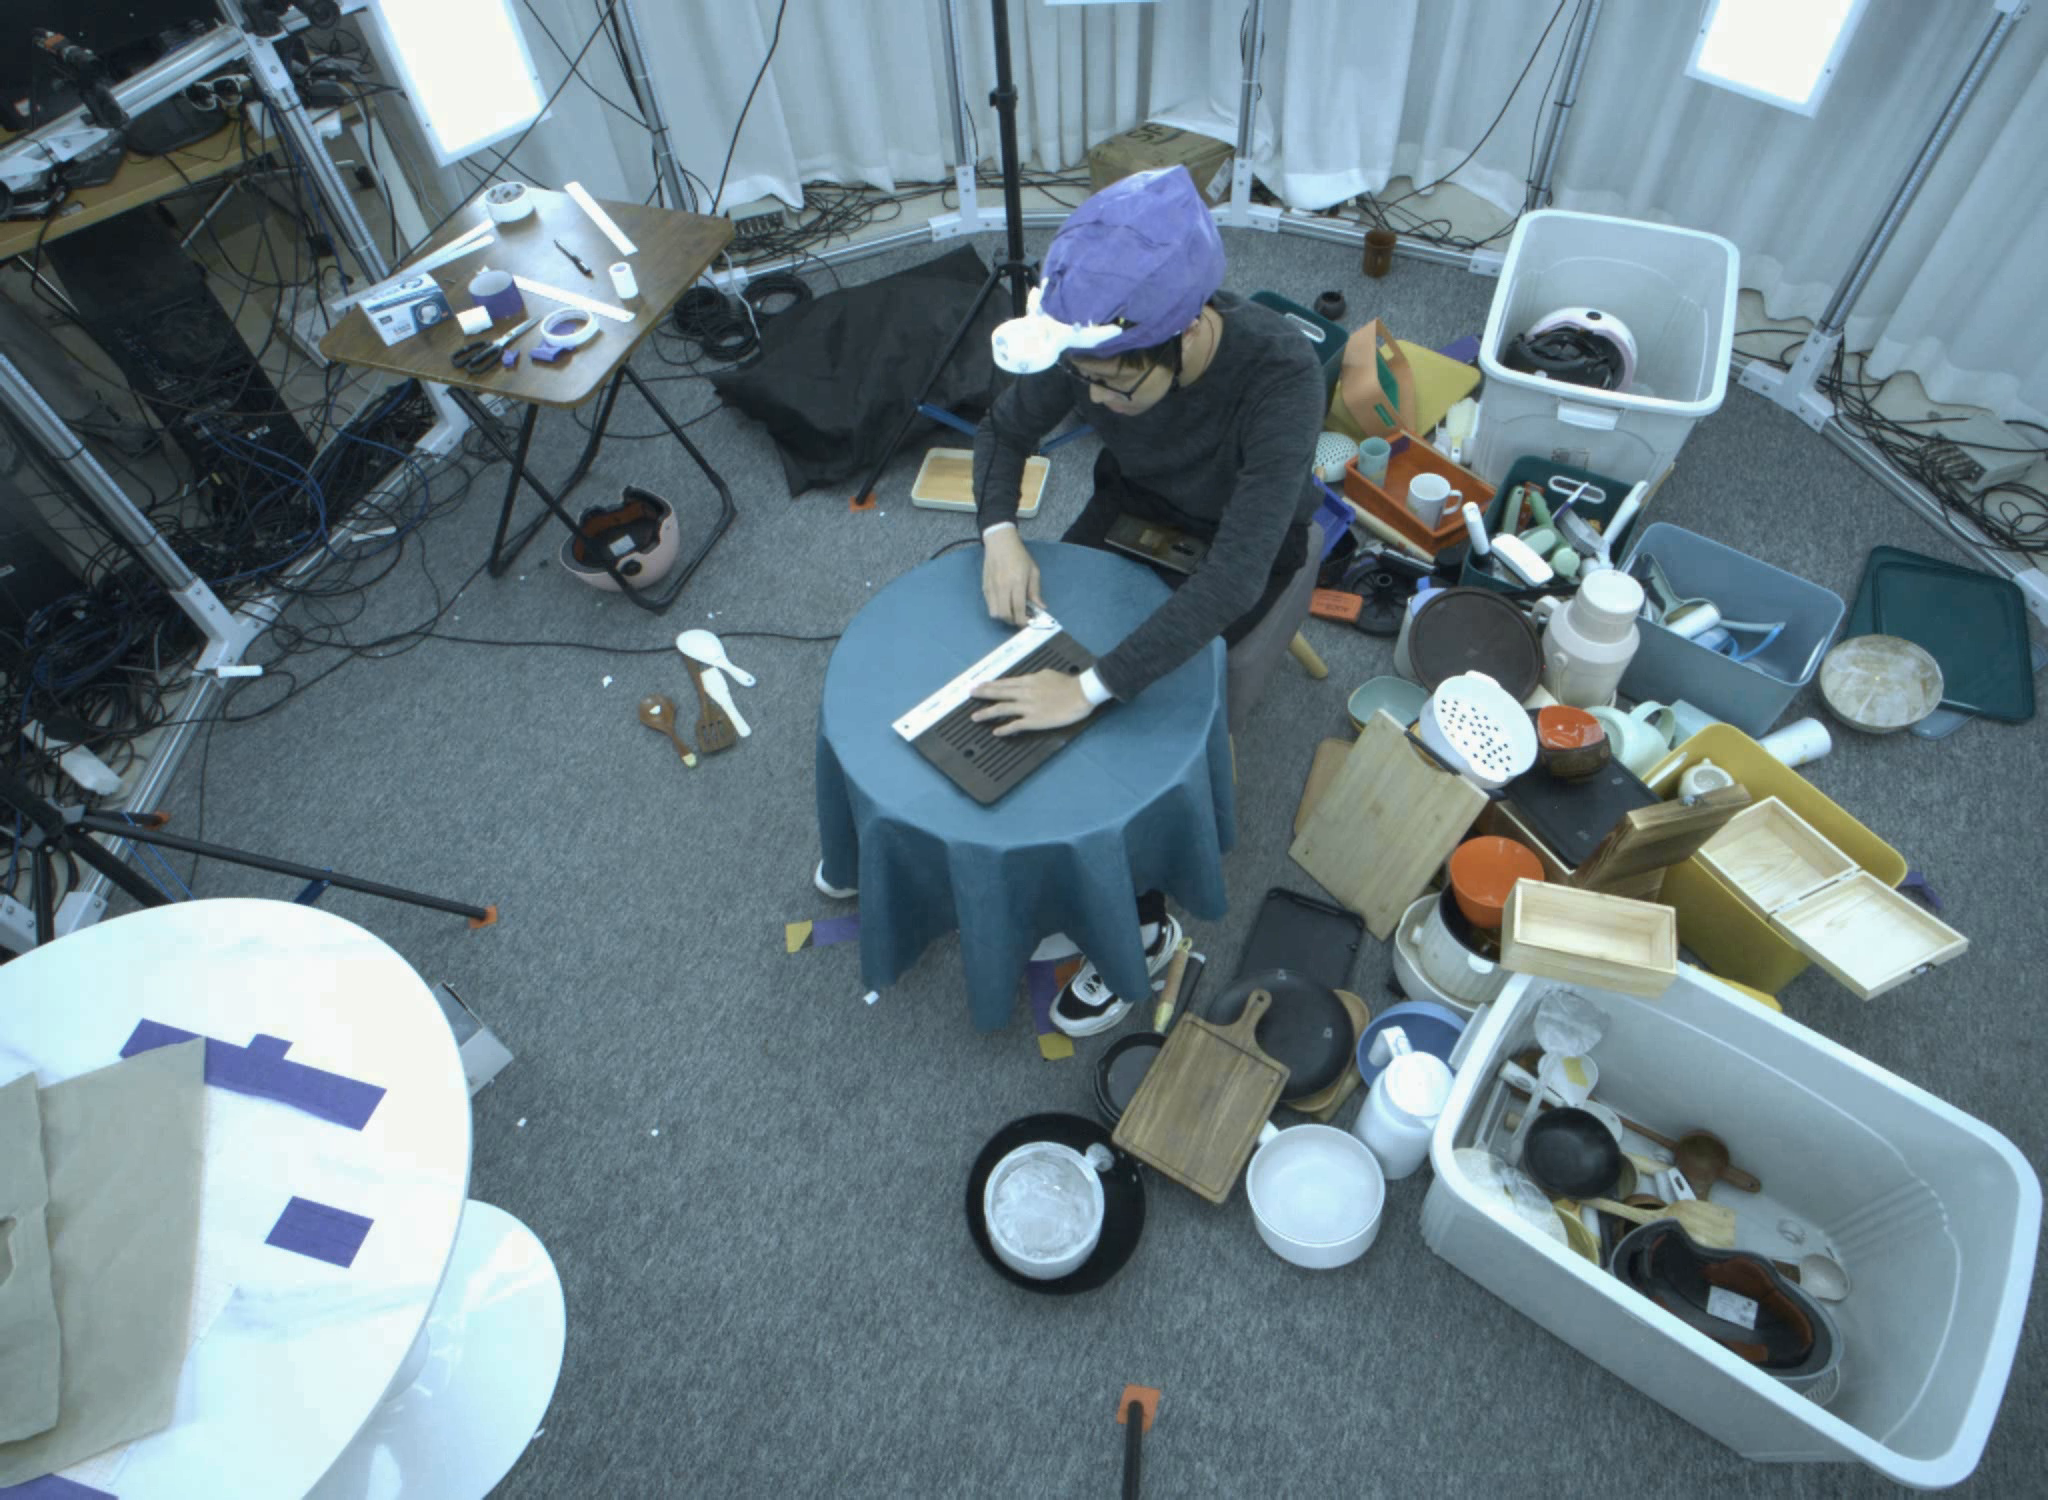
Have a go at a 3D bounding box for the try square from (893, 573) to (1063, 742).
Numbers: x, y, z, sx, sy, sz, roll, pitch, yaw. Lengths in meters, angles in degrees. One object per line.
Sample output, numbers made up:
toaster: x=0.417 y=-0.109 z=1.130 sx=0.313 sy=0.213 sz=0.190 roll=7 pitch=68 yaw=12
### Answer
try square: x=-0.102 y=-0.146 z=1.869 sx=0.315 sy=0.016 sz=0.150 roll=-38 pitch=65 yaw=-22

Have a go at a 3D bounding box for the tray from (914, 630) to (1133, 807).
tray: x=0.001 y=-0.050 z=1.812 sx=0.308 sy=0.019 sz=0.167 roll=-39 pitch=62 yaw=-23
